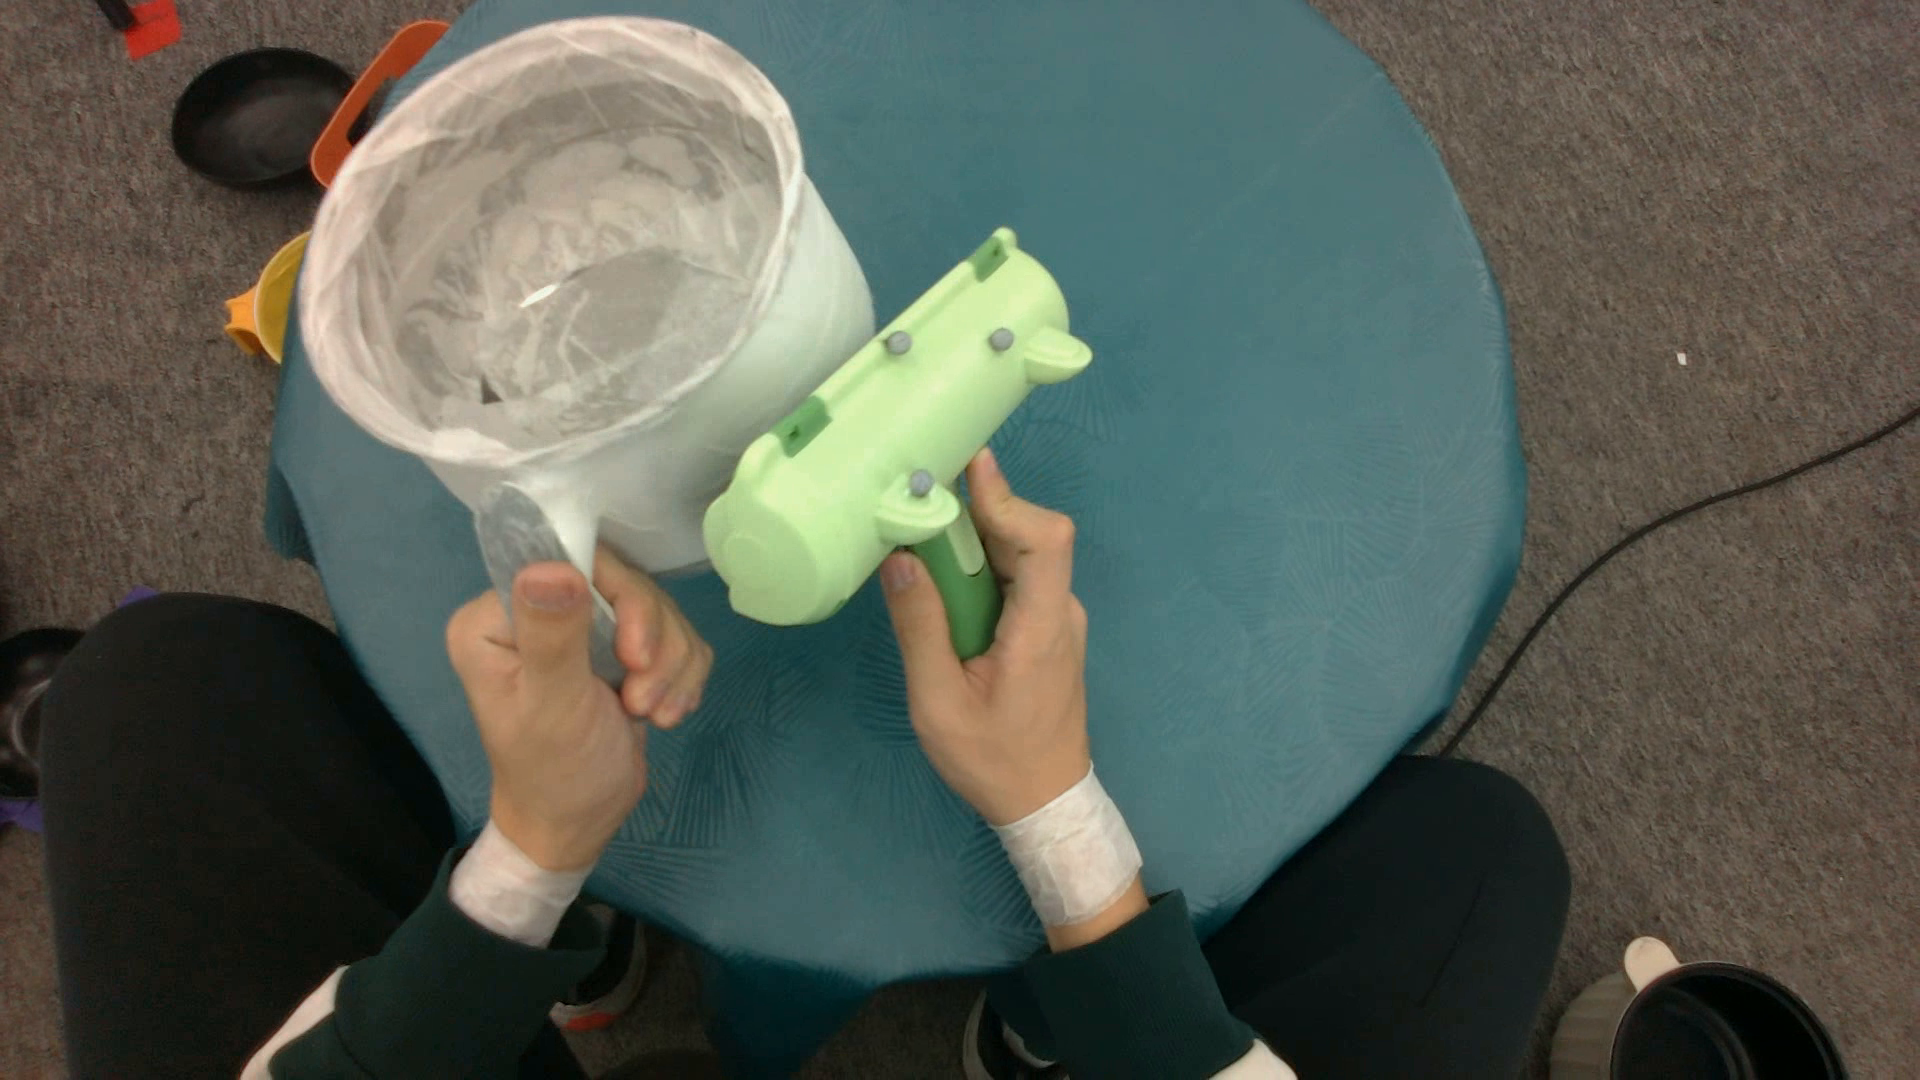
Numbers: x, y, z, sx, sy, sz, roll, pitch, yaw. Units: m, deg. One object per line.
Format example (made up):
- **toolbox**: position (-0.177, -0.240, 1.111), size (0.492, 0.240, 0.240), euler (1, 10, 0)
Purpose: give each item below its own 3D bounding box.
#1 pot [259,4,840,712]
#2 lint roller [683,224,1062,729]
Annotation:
- **pot**: position (-0.139, -0.061, 0.506), size (0.178, 0.136, 0.234), euler (-7, 67, 9)
- **lint roller**: position (-0.002, -0.003, 0.525), size (0.199, 0.082, 0.183), euler (-52, 124, -47)
